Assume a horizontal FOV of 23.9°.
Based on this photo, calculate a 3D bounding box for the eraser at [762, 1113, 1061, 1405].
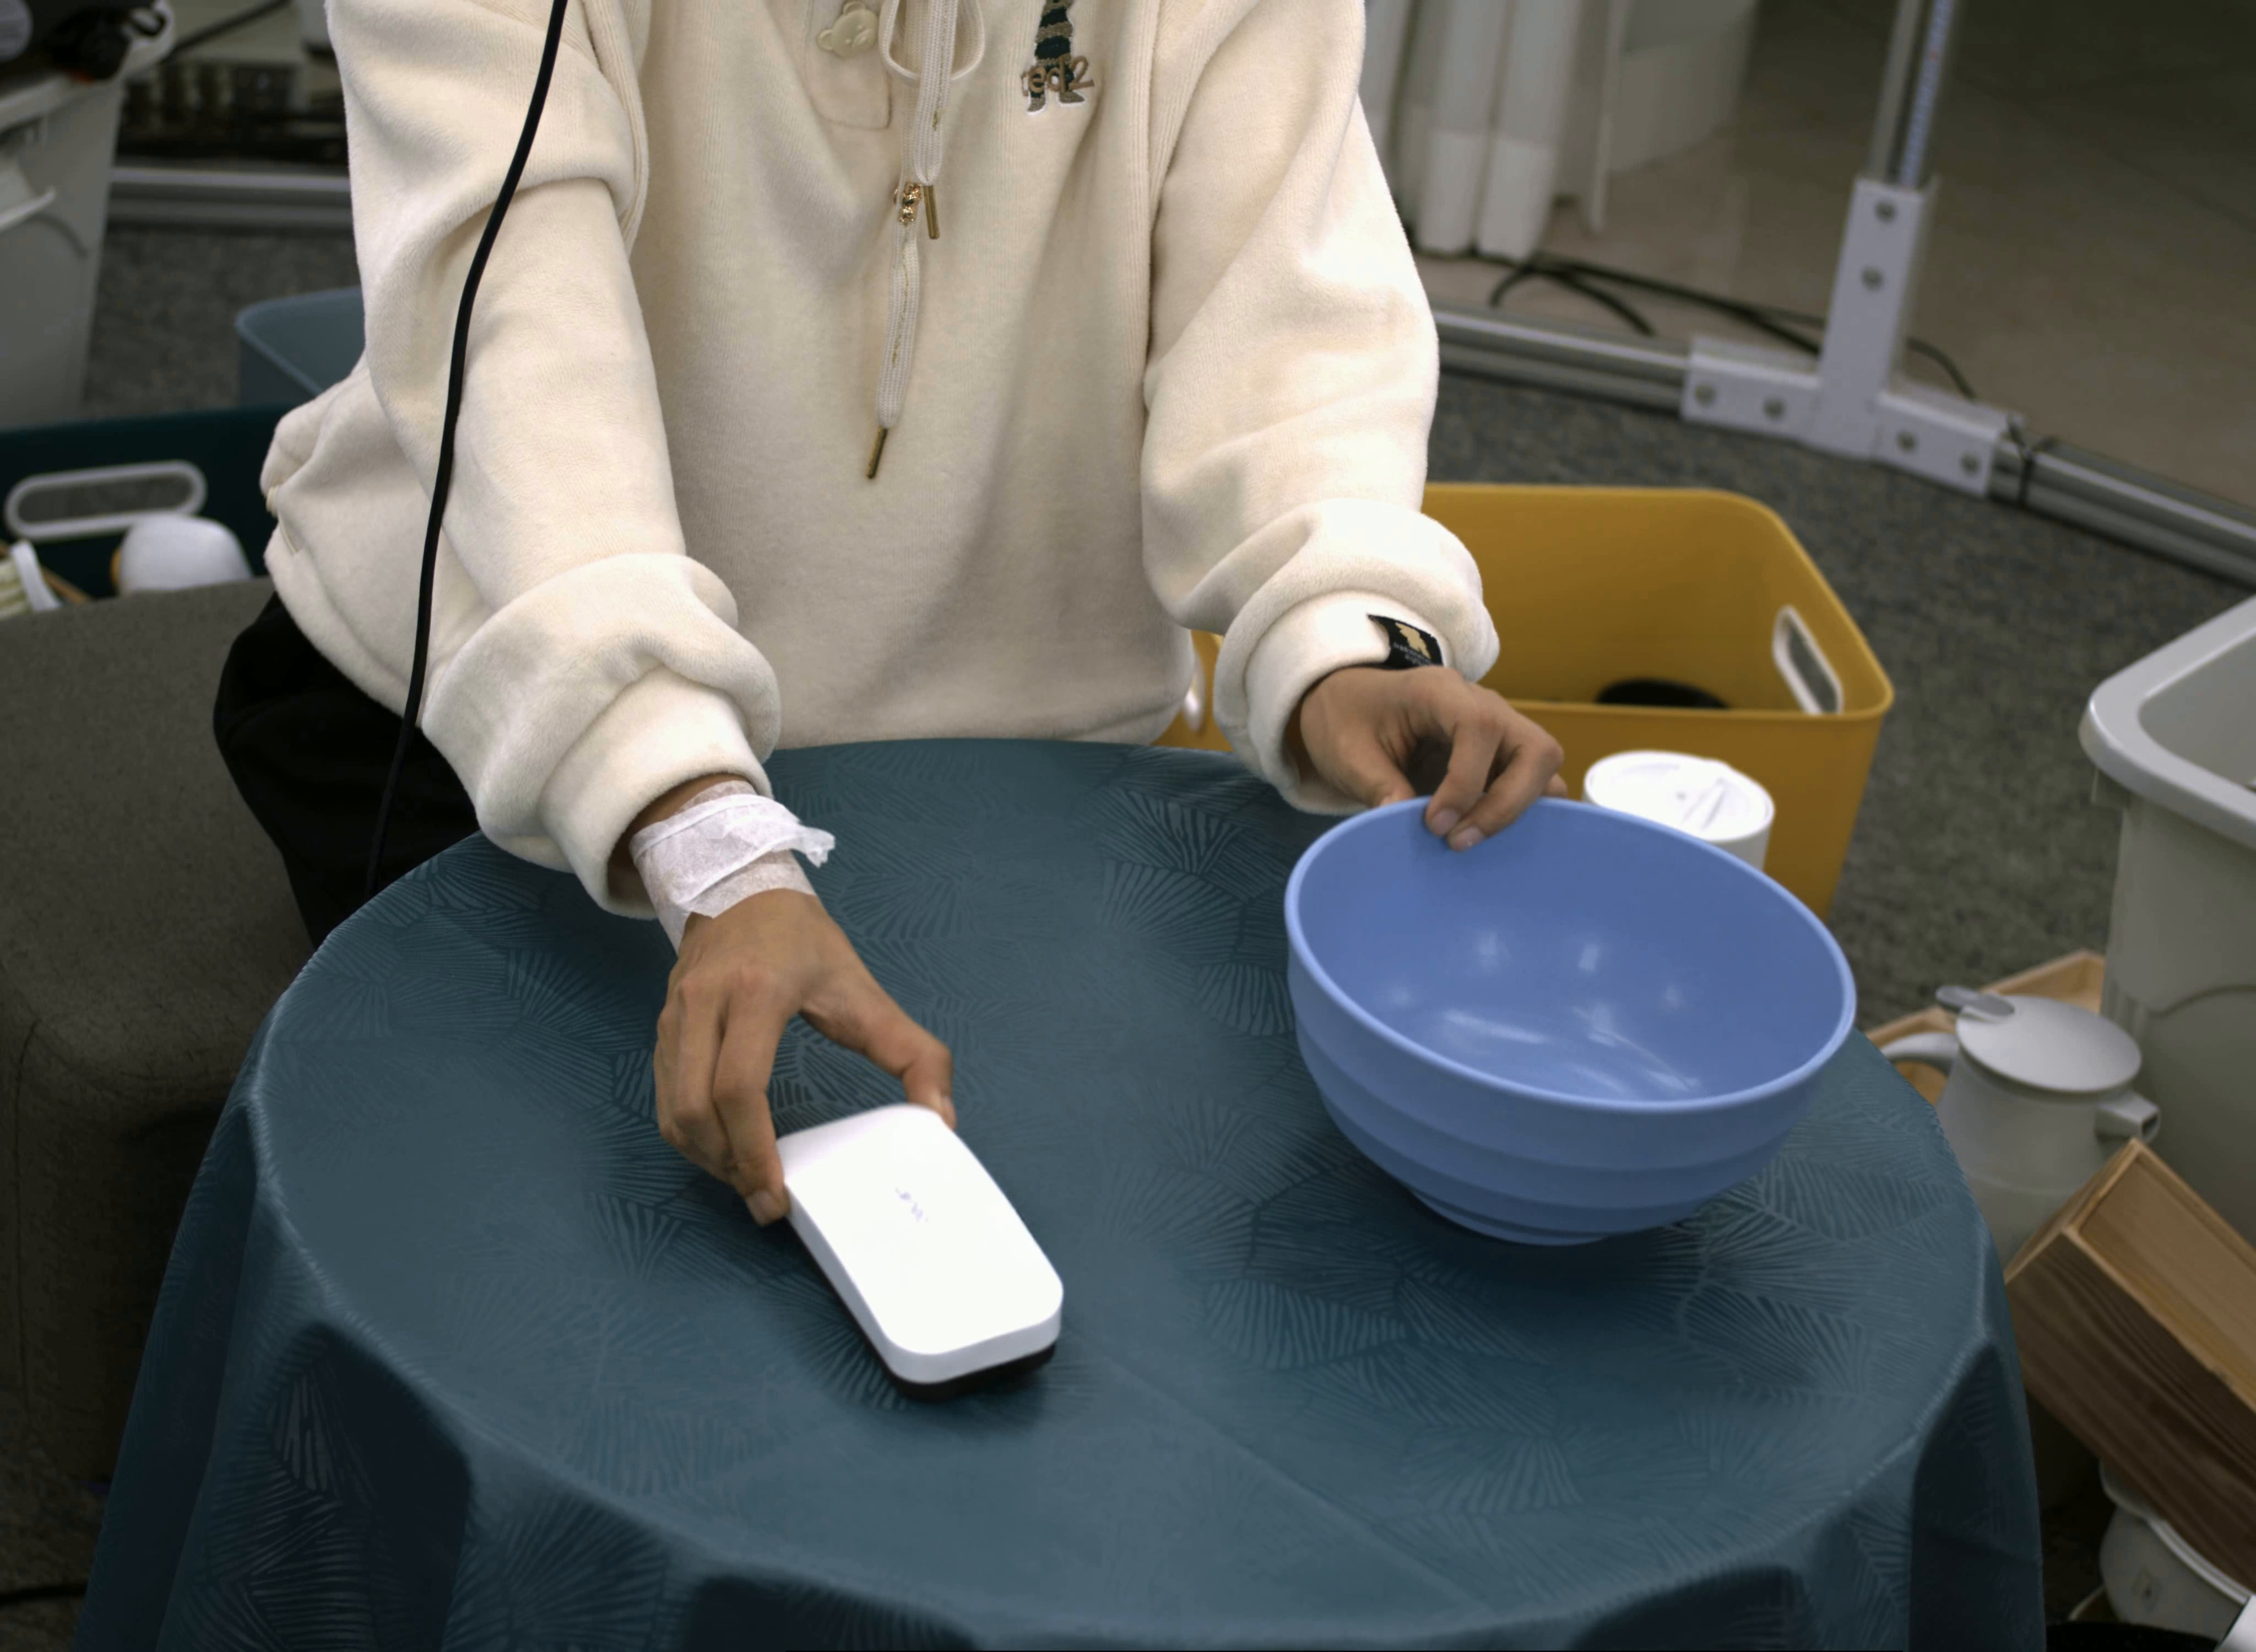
[{"bbox_3d":[-0.070,0.136,1.719,0.063,0.034,0.132,-13,34,-20],"label":"eraser"}]

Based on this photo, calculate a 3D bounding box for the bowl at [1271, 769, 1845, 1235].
[{"bbox_3d":[0.139,0.075,1.818,0.196,0.095,0.198,6,35,-4],"label":"bowl"}]
